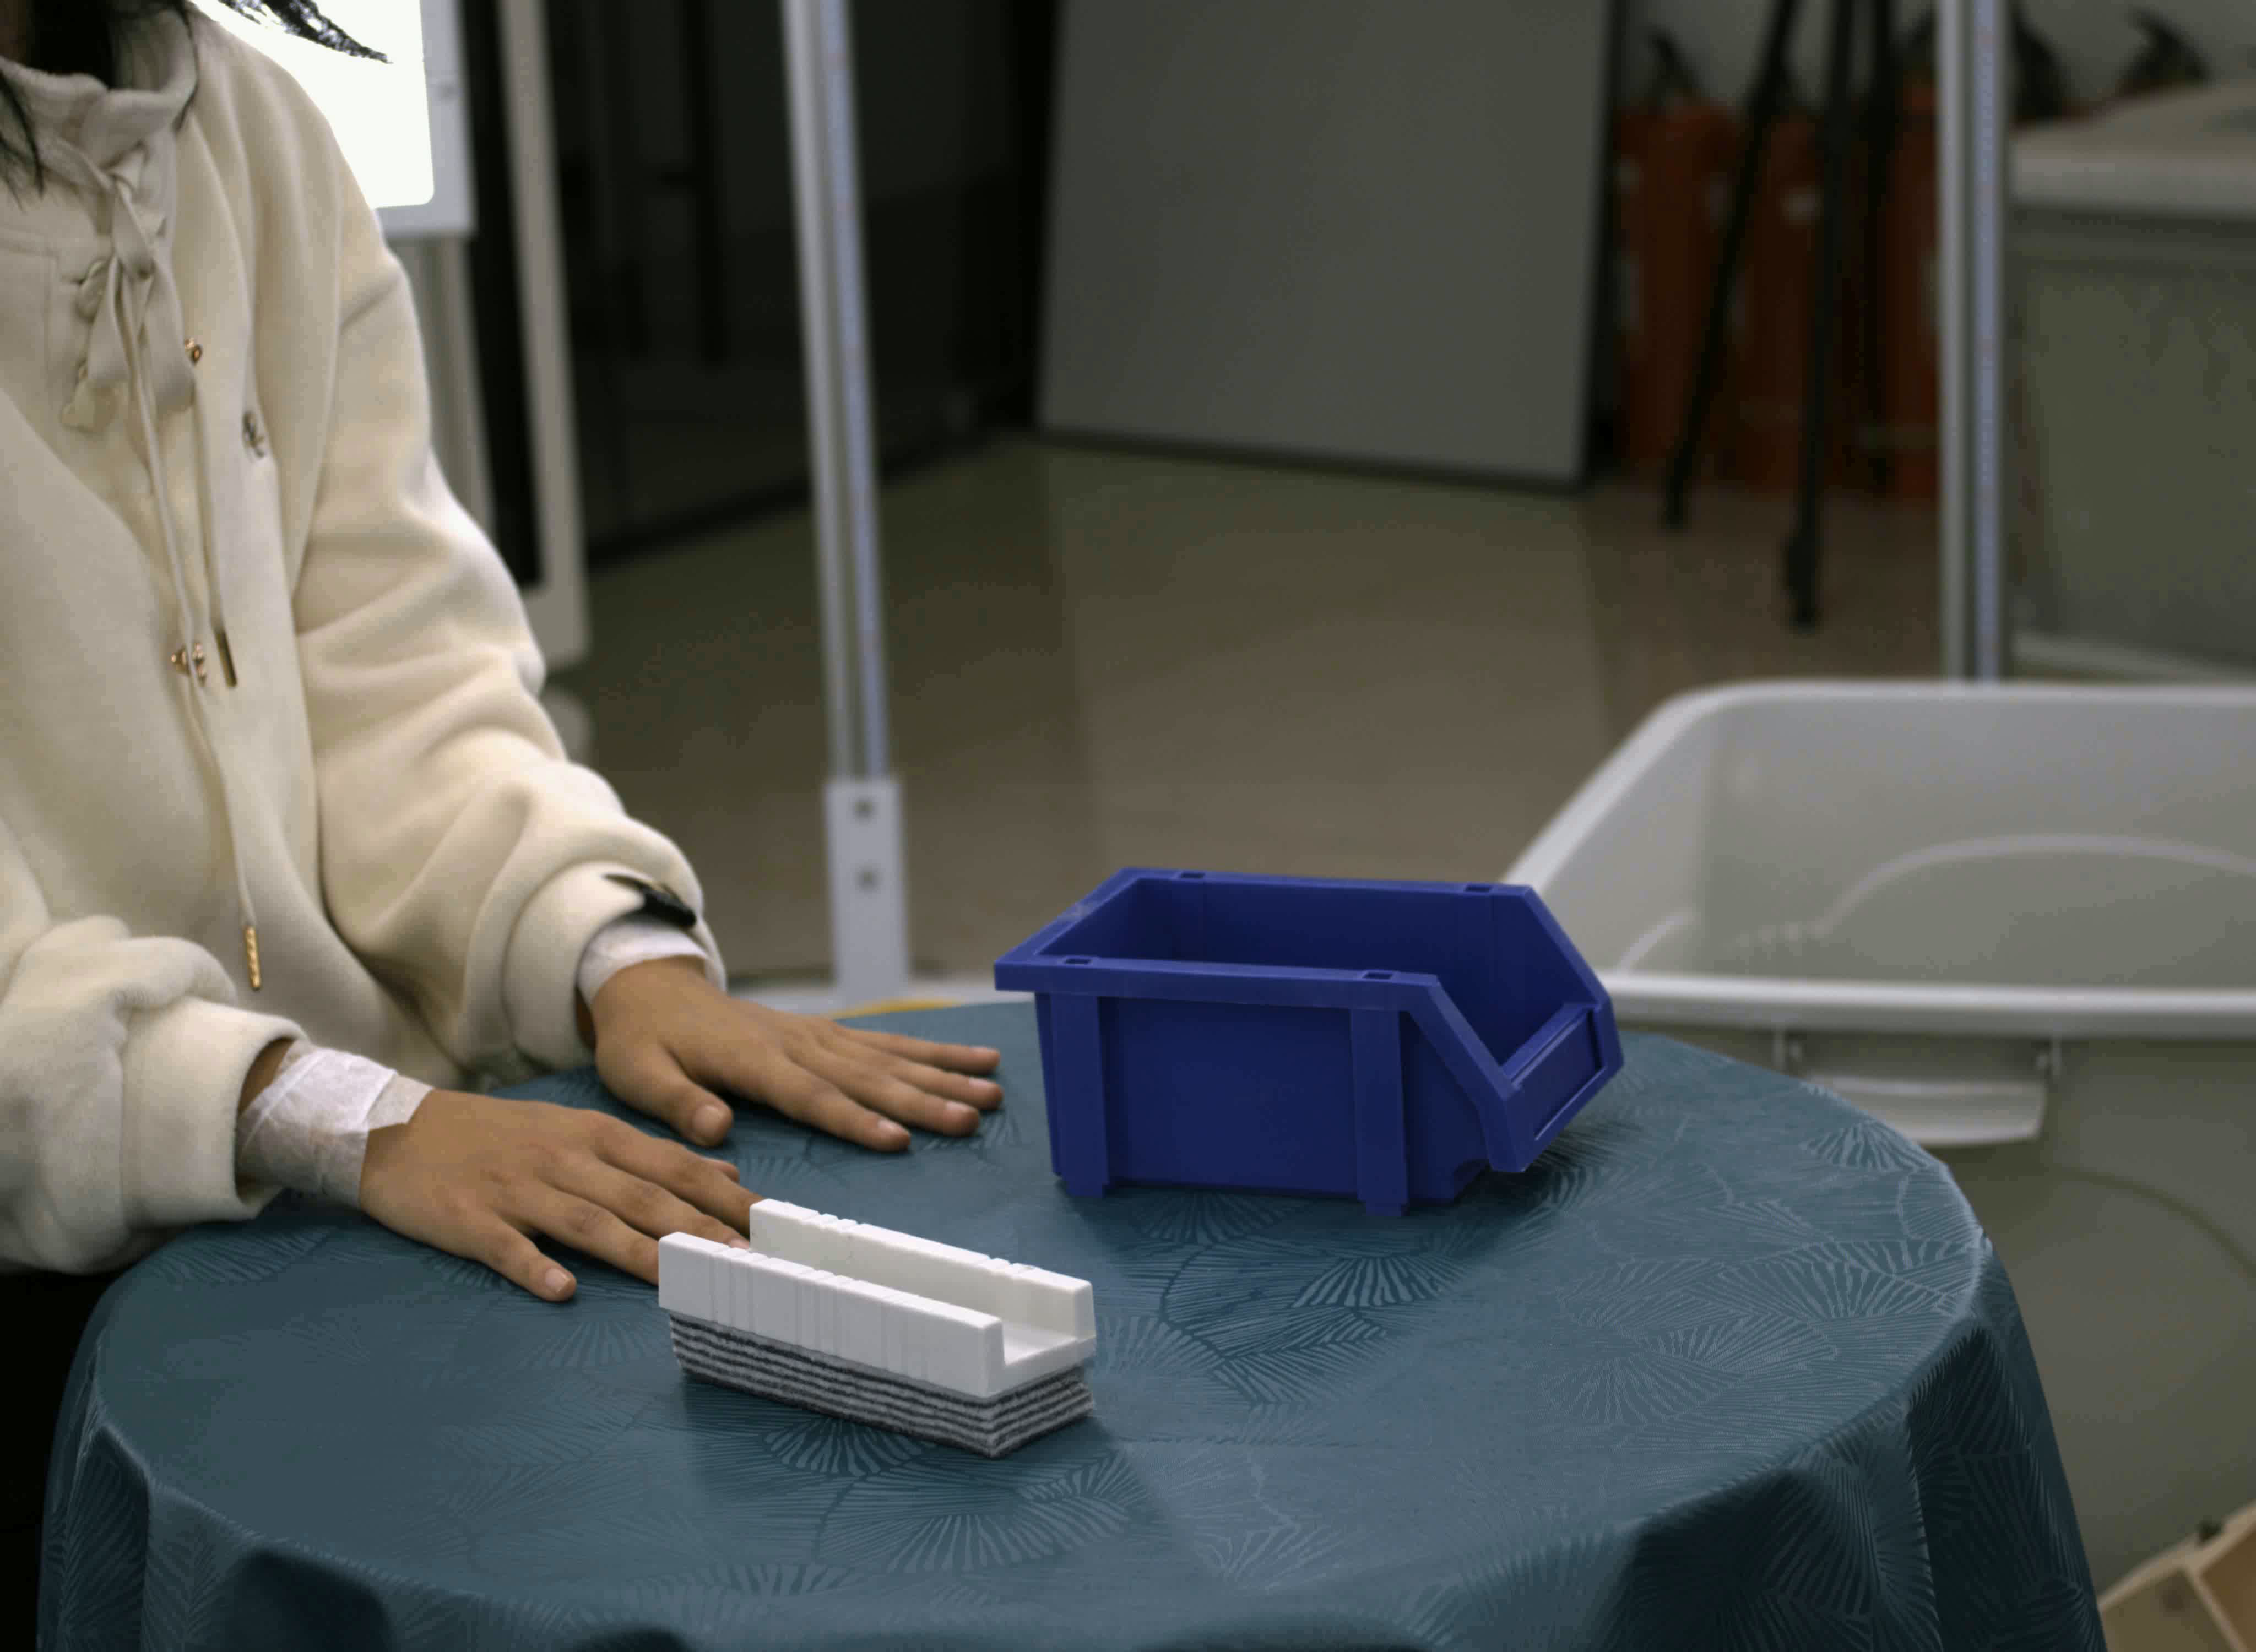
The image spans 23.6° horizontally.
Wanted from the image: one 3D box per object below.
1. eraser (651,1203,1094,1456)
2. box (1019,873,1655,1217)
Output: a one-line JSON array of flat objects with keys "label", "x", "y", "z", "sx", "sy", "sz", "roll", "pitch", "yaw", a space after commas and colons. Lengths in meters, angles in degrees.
[{"label": "eraser", "x": -0.076, "y": 0.147, "z": 1.587, "sx": 0.135, "sy": 0.047, "sz": 0.049, "roll": 10, "pitch": 20, "yaw": 39}, {"label": "box", "x": 0.072, "y": 0.070, "z": 1.783, "sx": 0.179, "sy": 0.083, "sz": 0.123, "roll": 0, "pitch": 14, "yaw": 25}]
